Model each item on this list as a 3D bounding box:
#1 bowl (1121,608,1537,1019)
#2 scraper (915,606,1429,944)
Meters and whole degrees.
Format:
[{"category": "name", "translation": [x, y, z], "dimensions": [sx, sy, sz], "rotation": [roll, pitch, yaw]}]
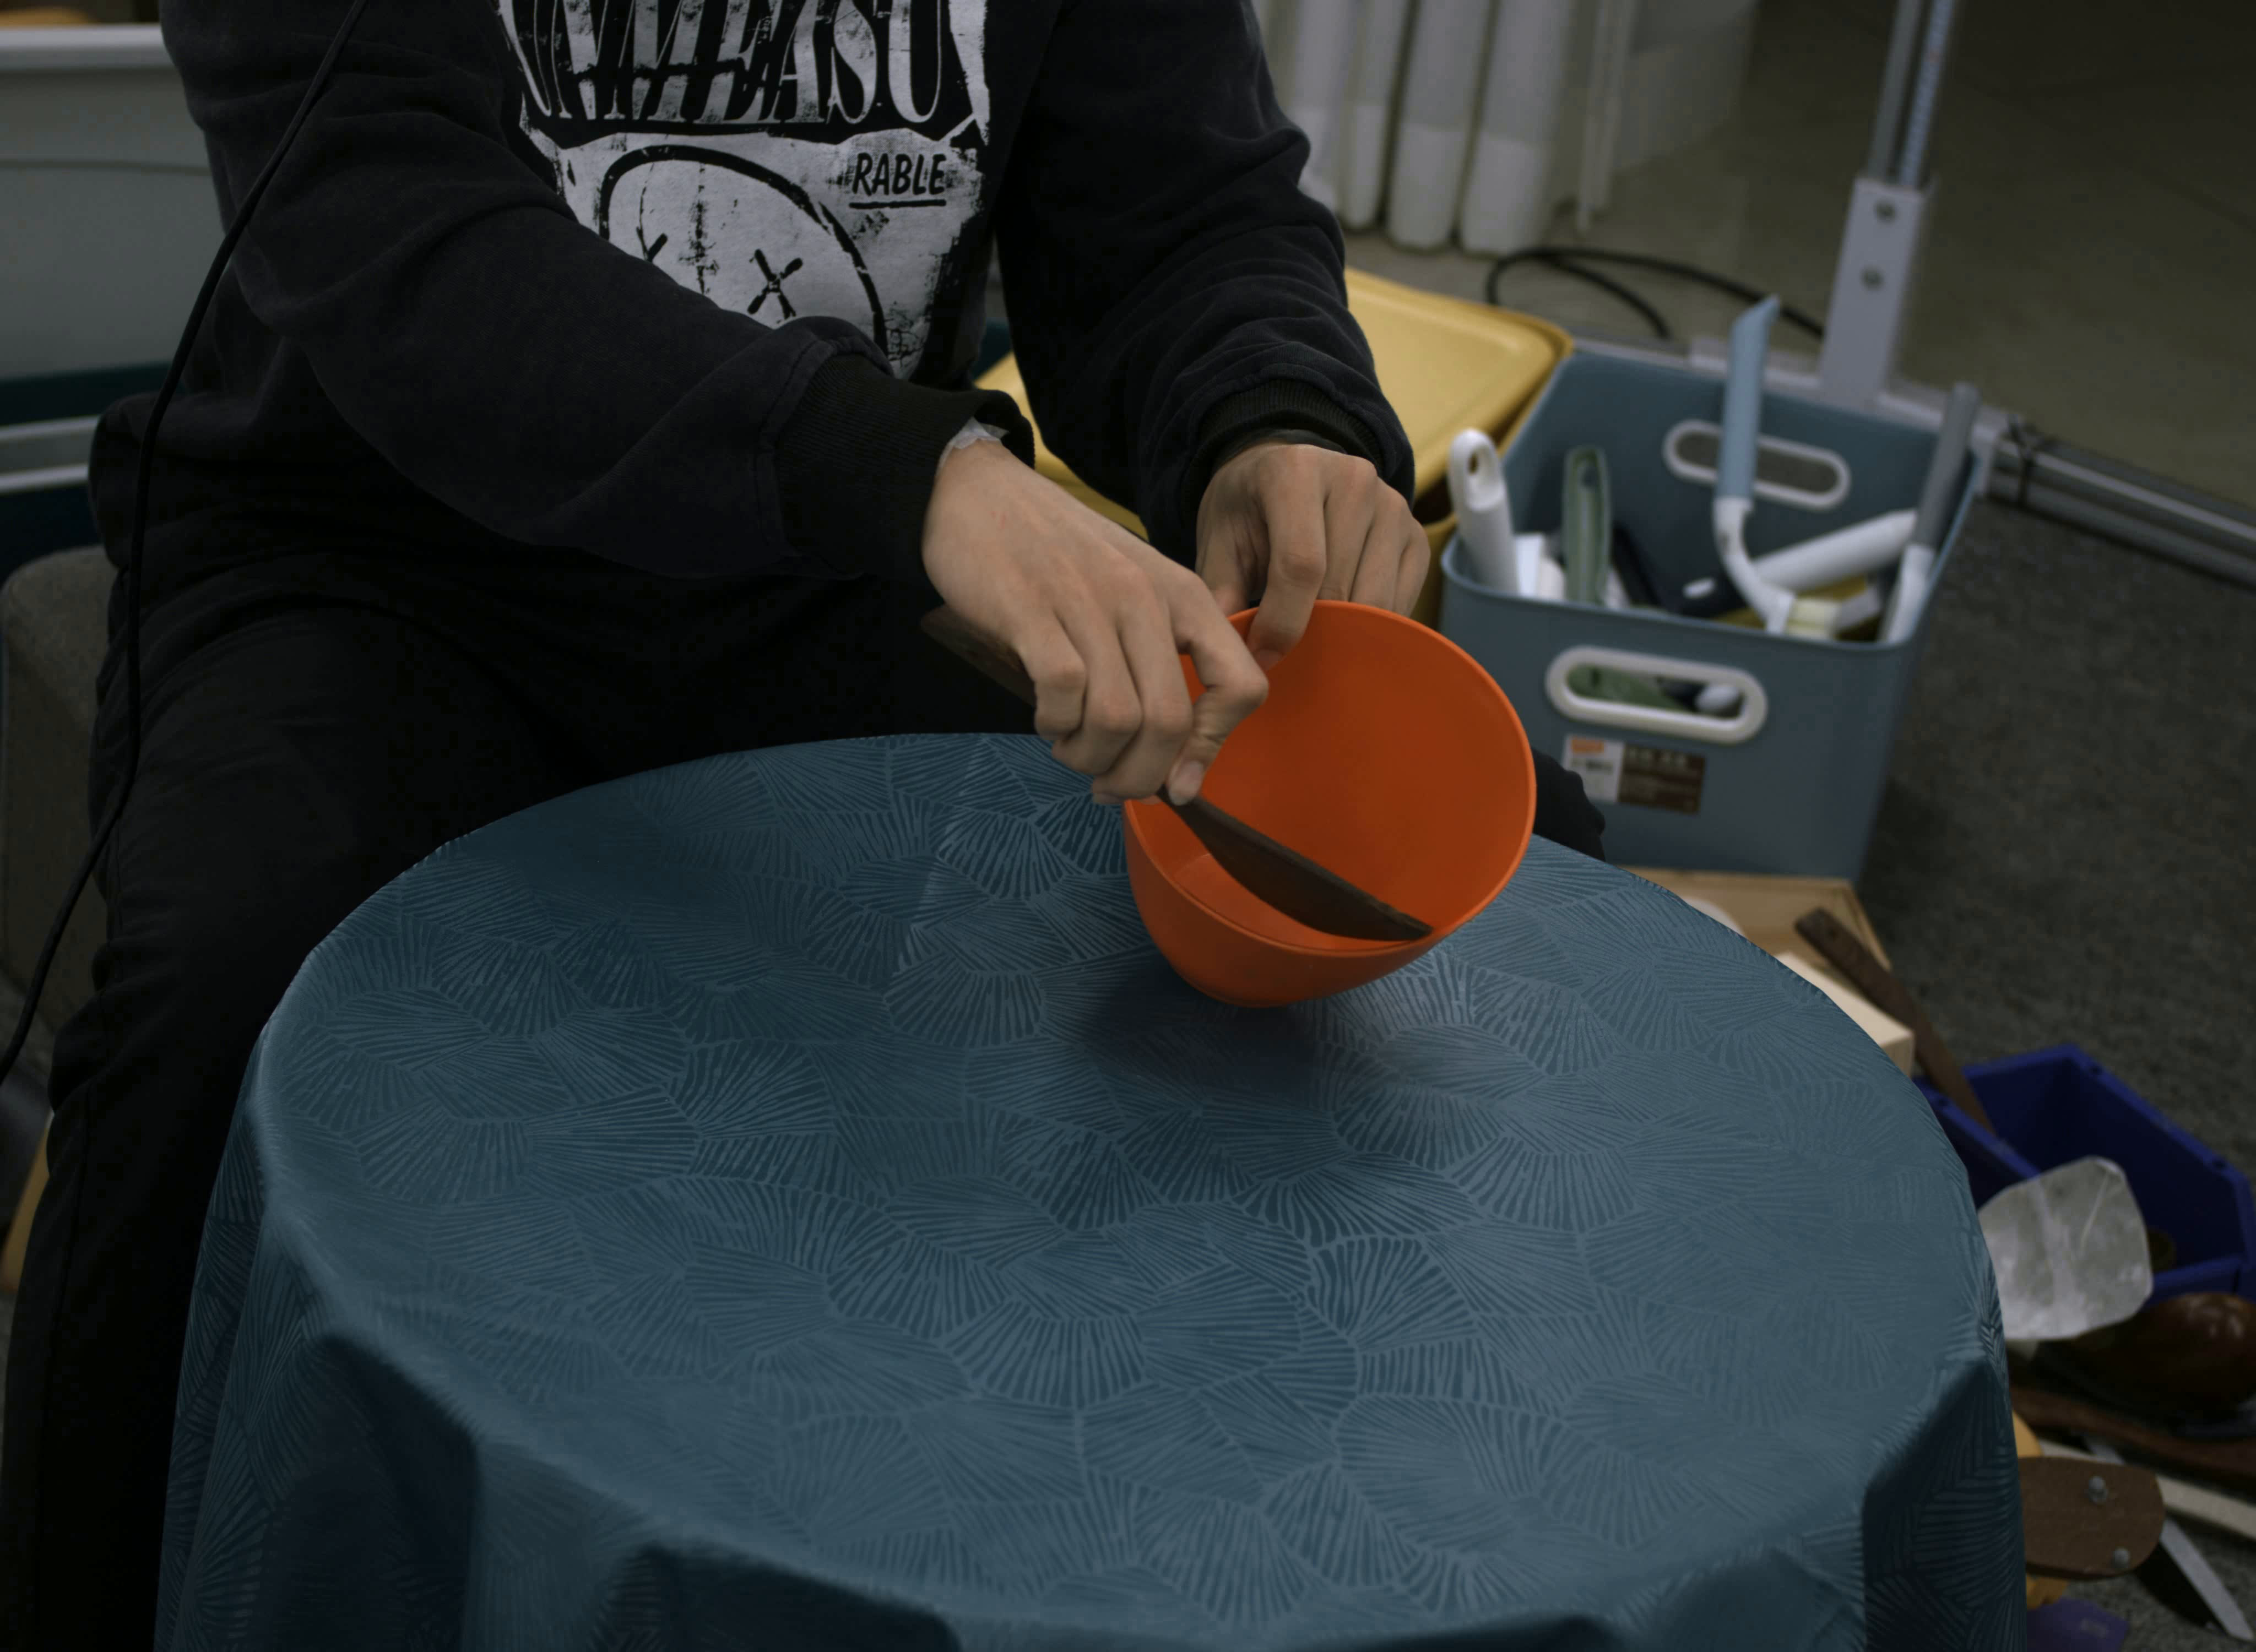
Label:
[{"category": "bowl", "translation": [0.063, 0.009, 1.910], "dimensions": [0.147, 0.104, 0.149], "rotation": [8, 51, -10]}, {"category": "scraper", "translation": [0.011, -0.015, 1.826], "dimensions": [0.210, 0.011, 0.076], "rotation": [36, -17, -20]}]
